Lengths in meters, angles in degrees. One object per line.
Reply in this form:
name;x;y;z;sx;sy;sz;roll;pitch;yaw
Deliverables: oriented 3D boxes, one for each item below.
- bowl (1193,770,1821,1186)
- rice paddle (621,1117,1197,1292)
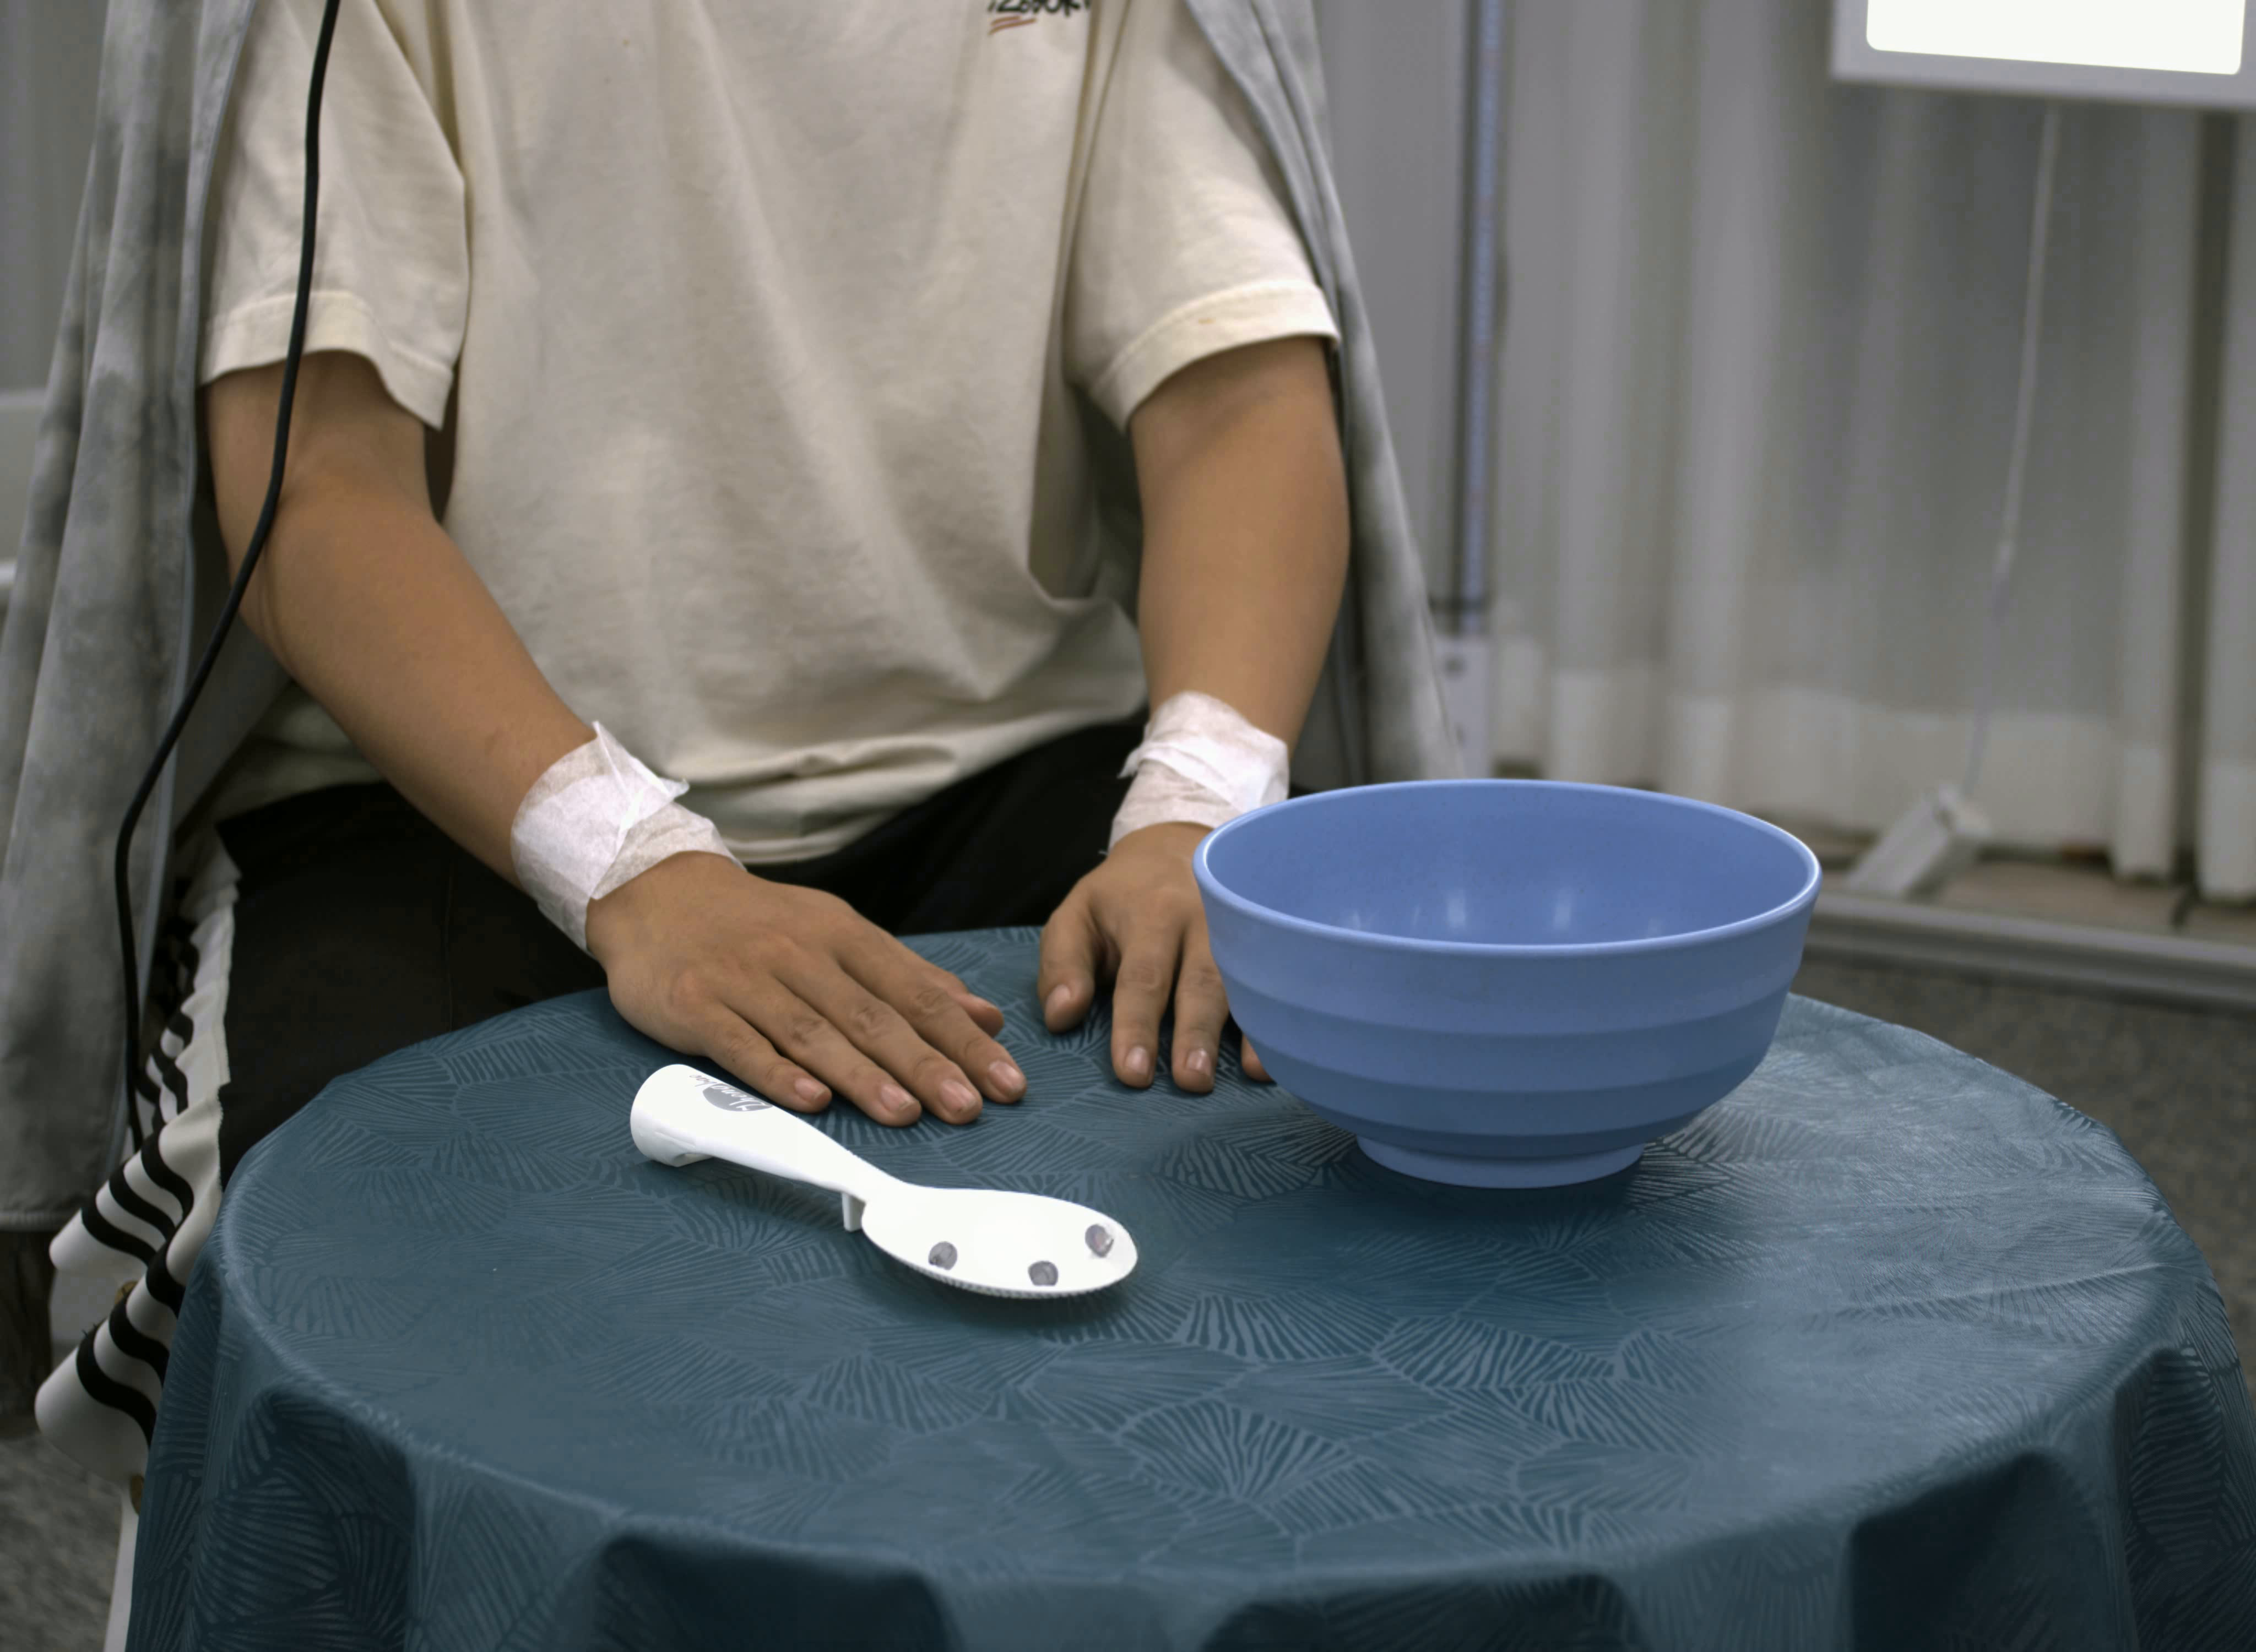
bowl;0.118;0.053;1.660;0.196;0.096;0.195;0;17;0
rice paddle;-0.066;0.115;1.575;0.203;0.029;0.069;7;4;36
